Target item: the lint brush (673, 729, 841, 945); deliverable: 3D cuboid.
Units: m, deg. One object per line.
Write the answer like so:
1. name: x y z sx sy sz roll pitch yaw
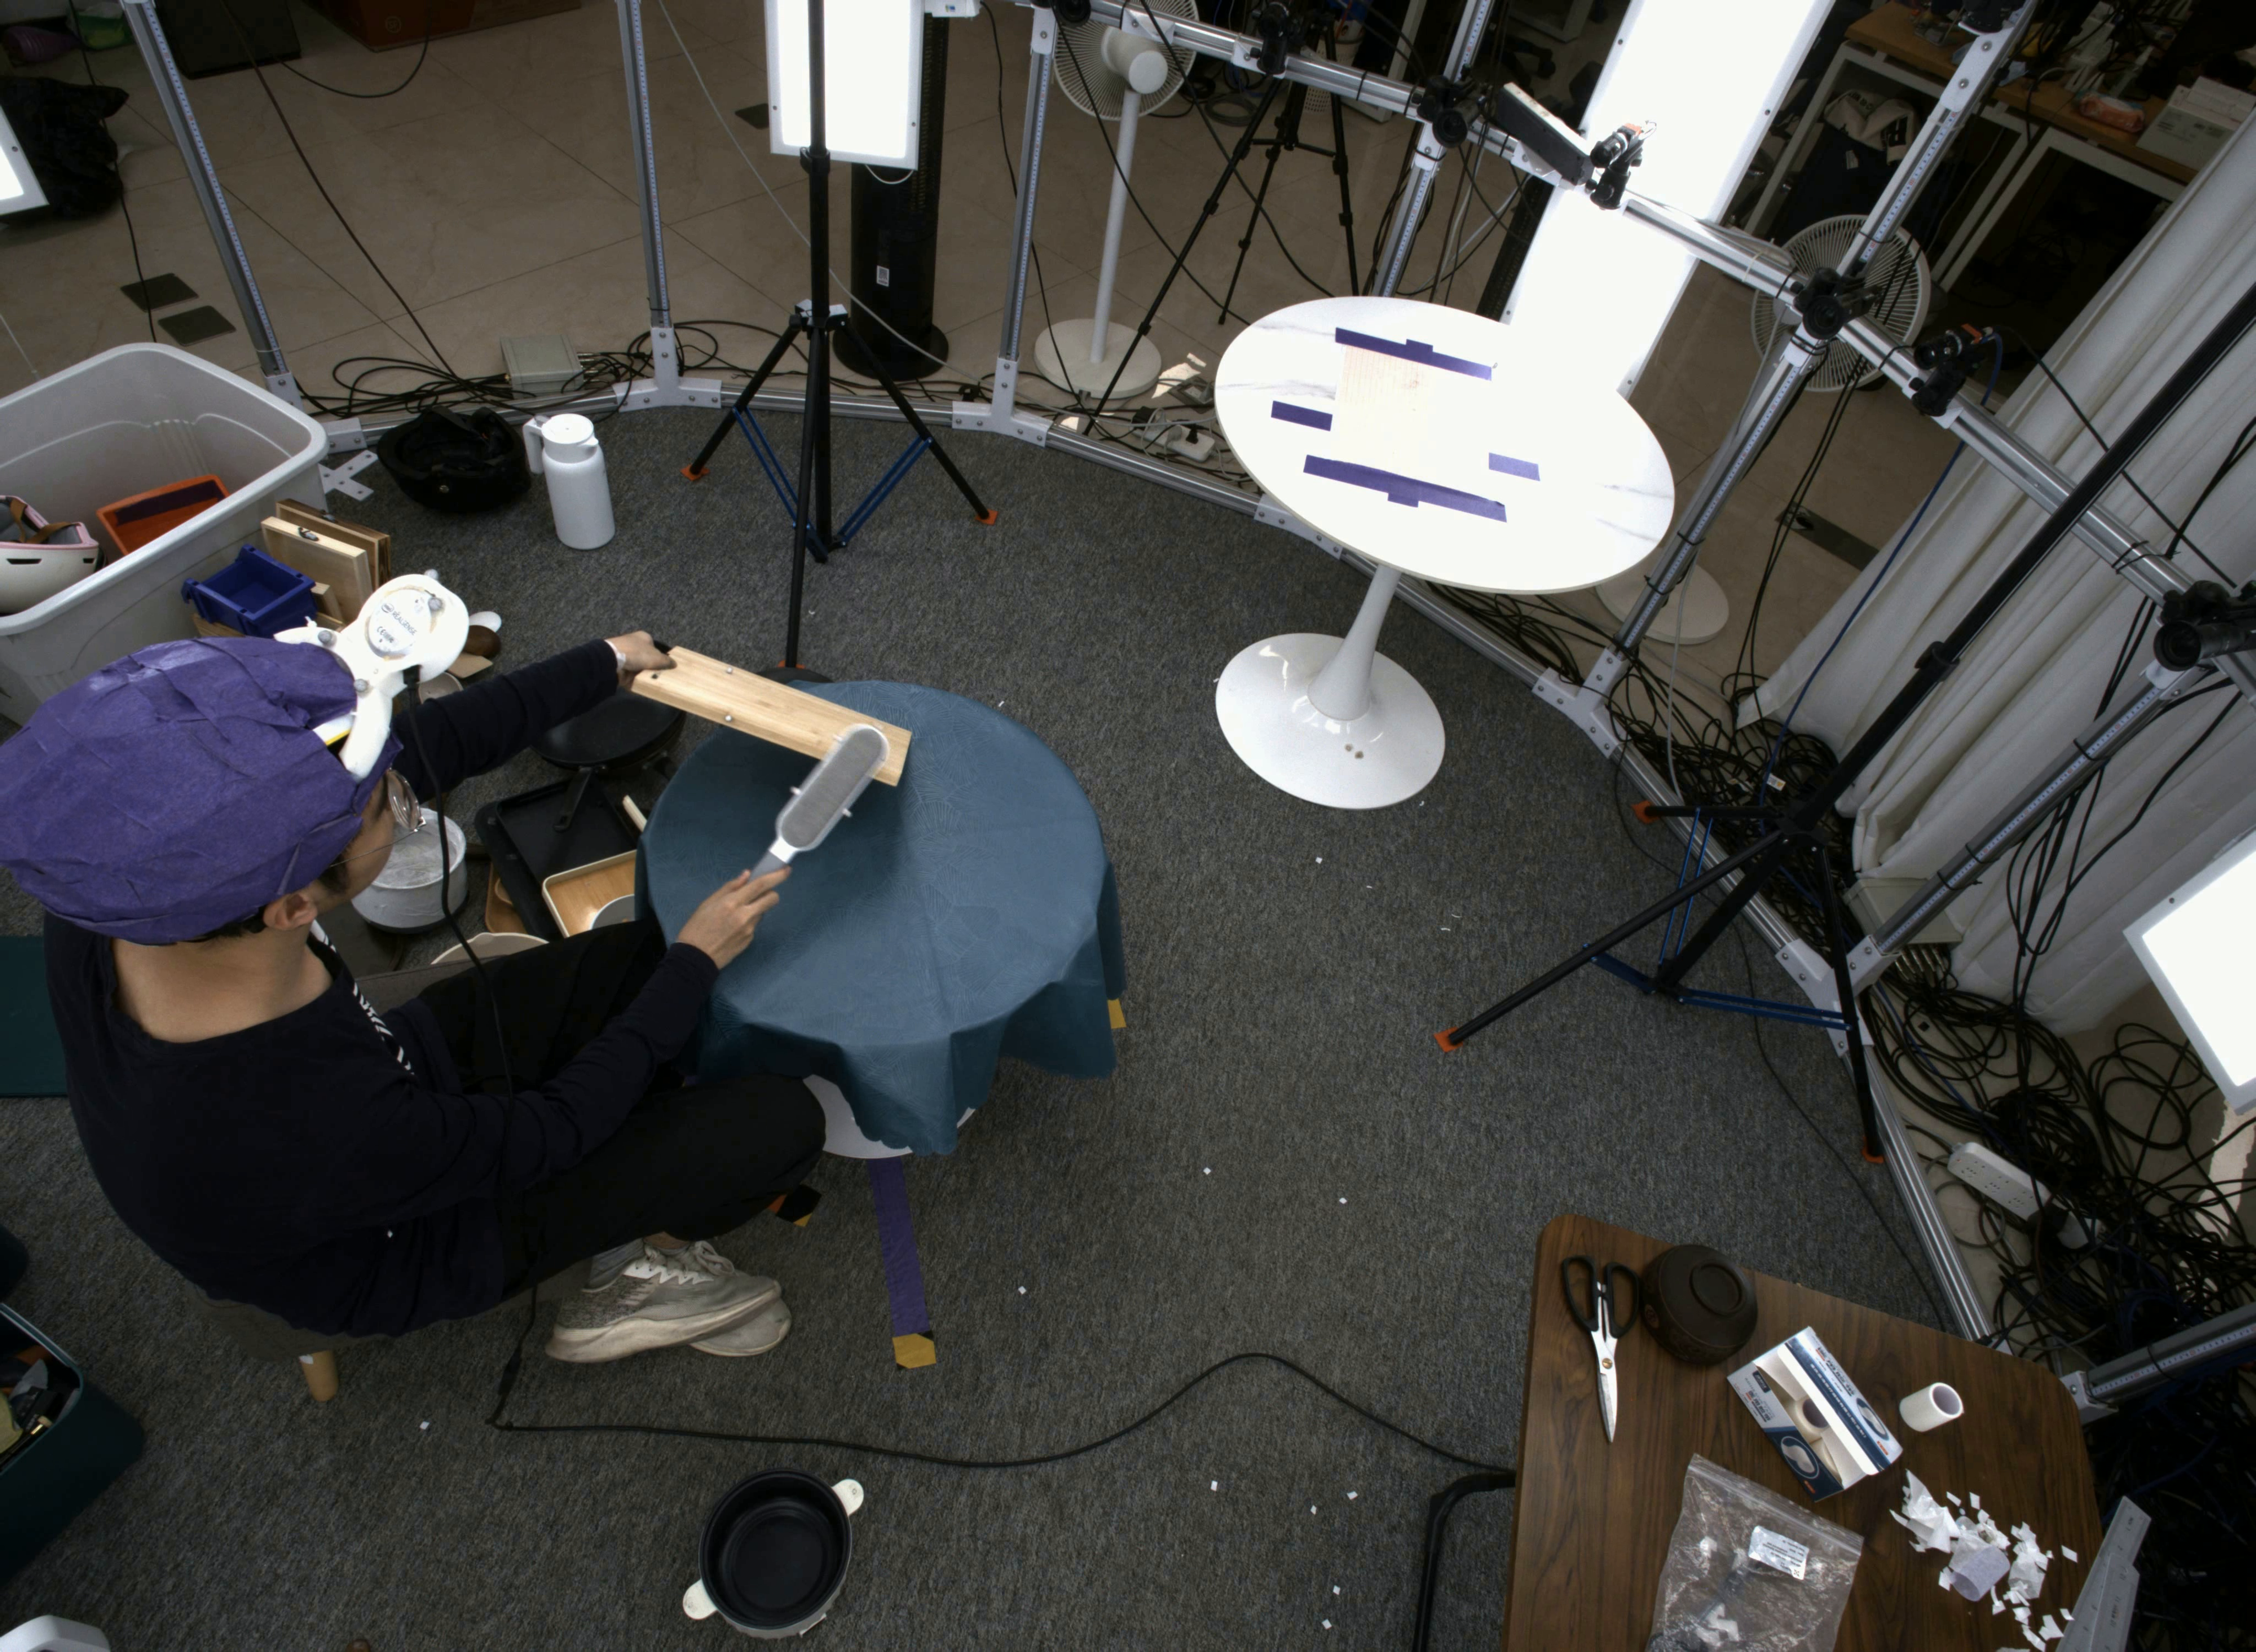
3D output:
1. lint brush: -0.452 0.011 1.564 0.061 0.020 0.309 38 81 -18

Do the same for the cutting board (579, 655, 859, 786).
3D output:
1. cutting board: -0.525 -0.141 1.672 0.352 0.024 0.245 19 13 -16
